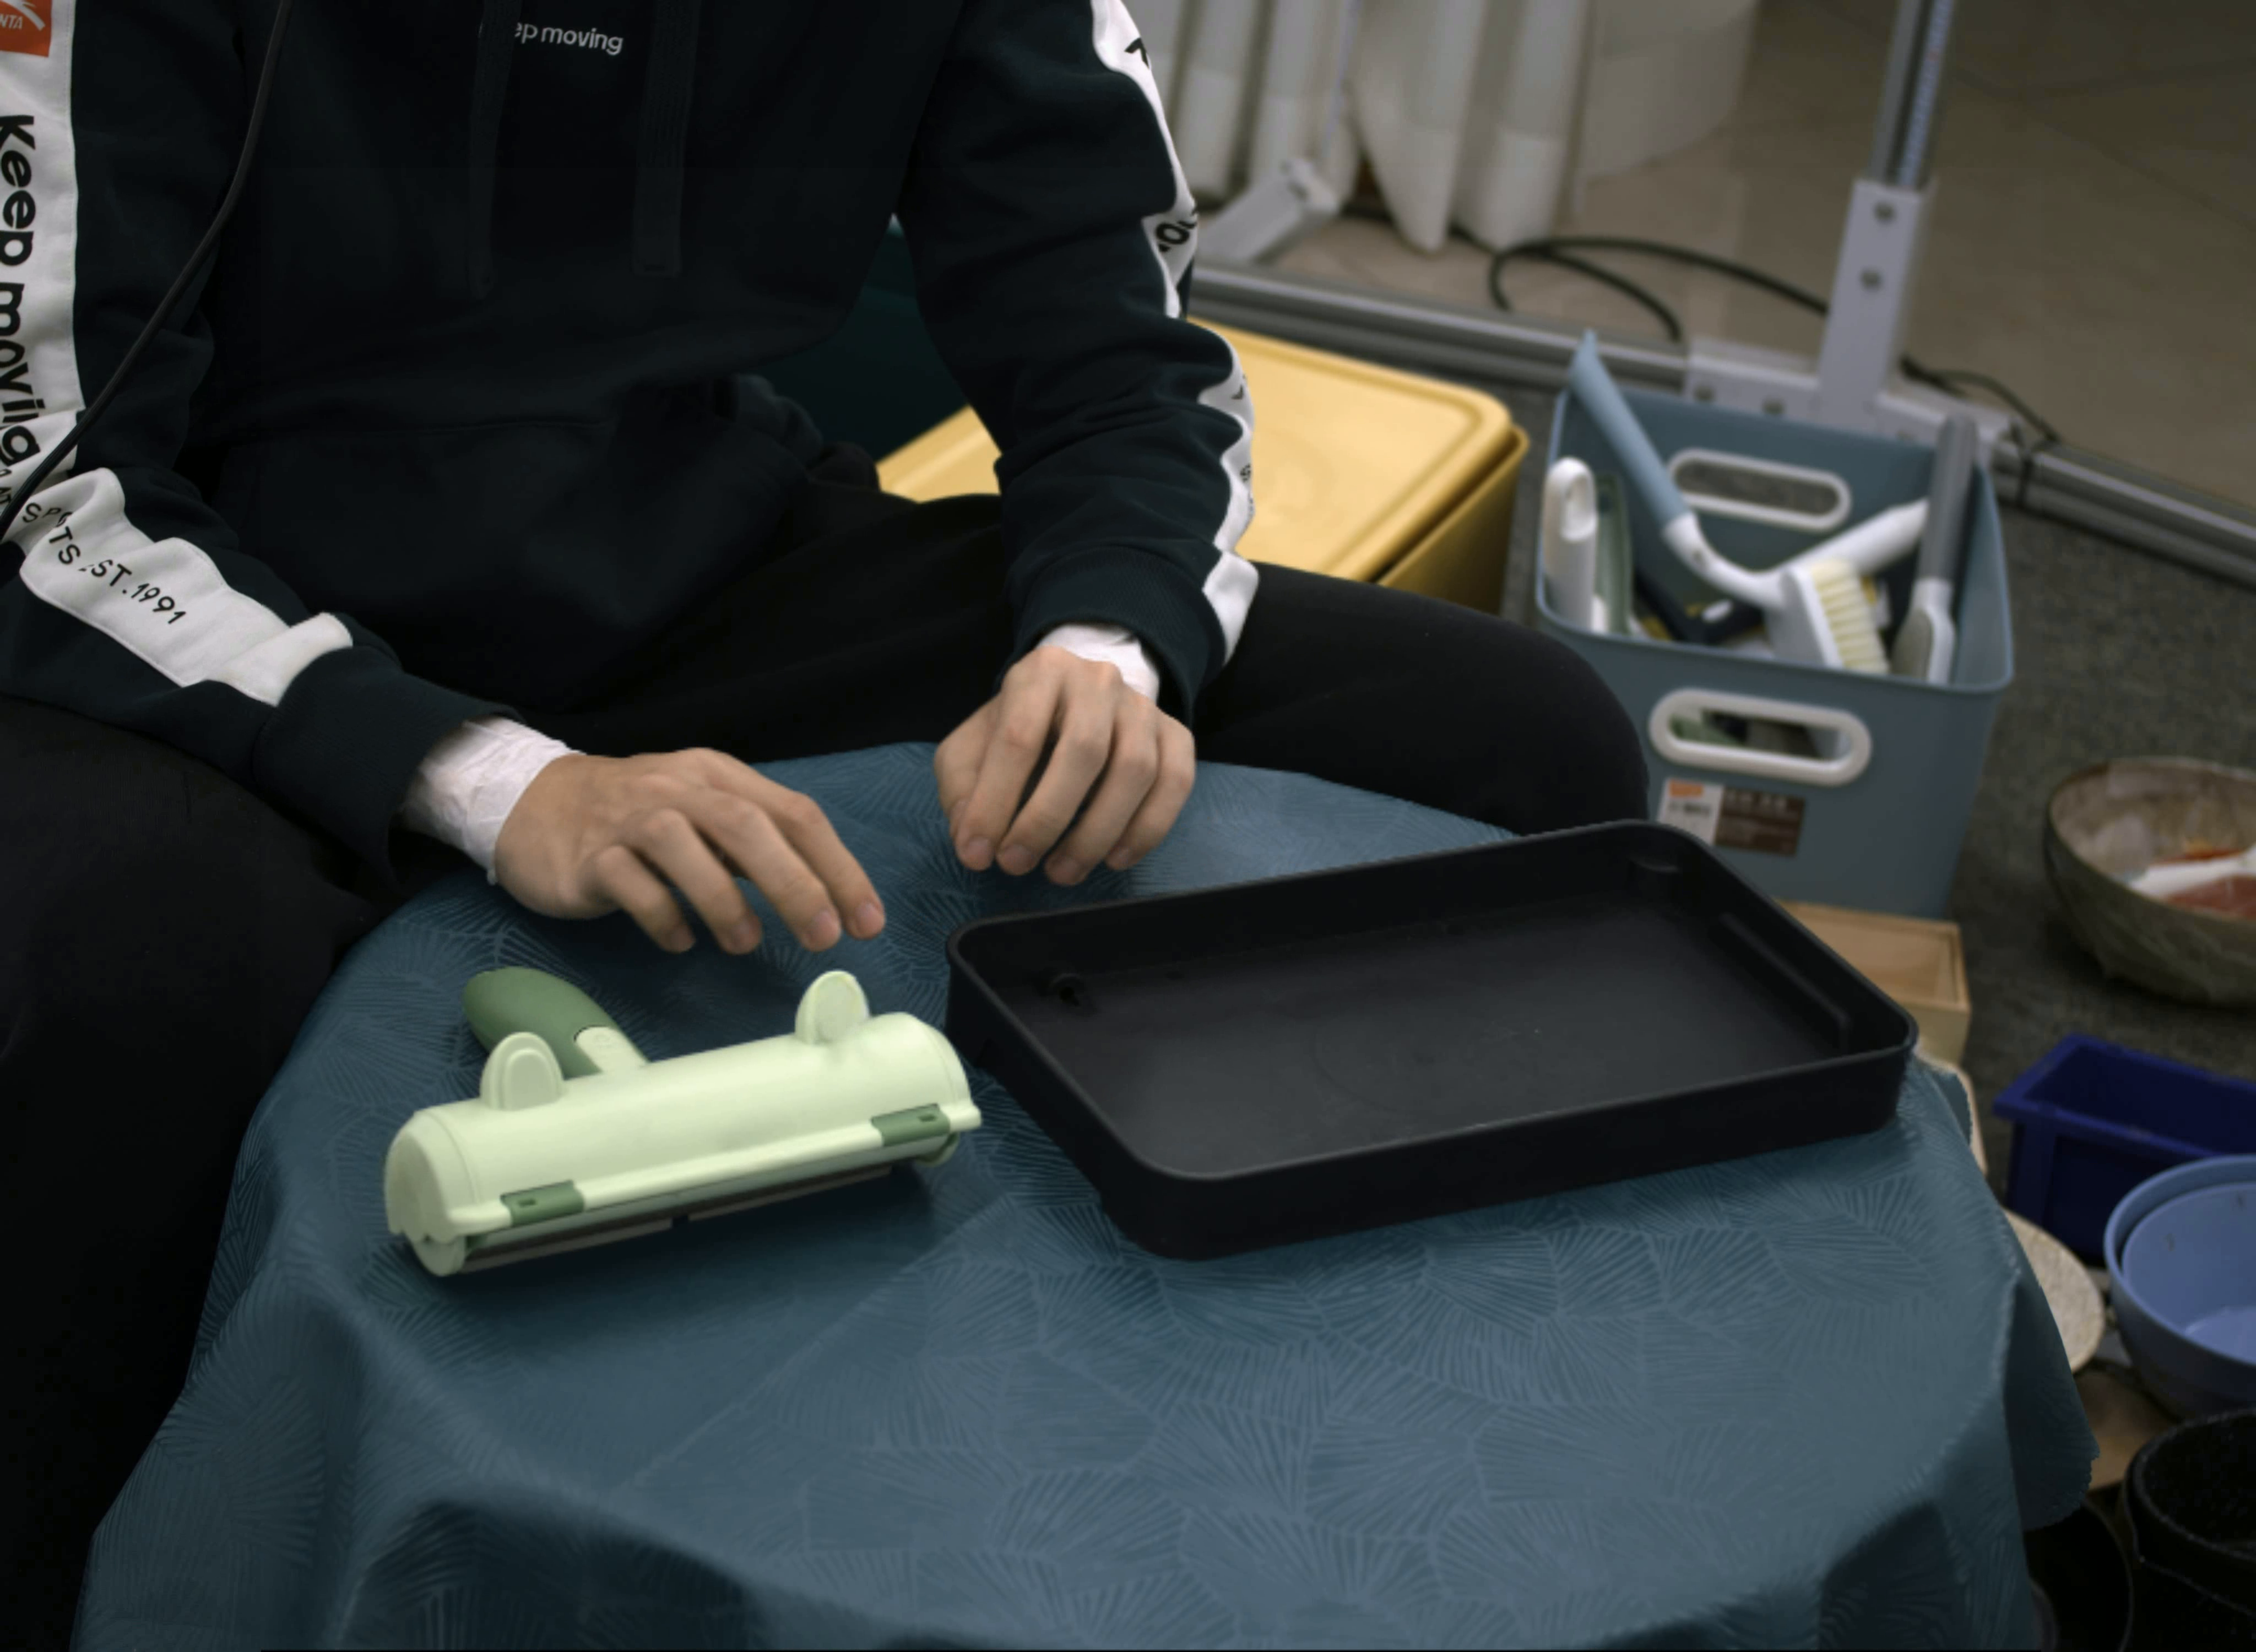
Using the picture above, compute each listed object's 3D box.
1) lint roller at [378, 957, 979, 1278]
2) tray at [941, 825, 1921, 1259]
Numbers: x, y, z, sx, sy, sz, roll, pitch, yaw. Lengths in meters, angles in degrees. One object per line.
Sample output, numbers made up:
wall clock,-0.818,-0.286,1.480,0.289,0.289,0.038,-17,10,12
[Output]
lint roller,-0.174,0.070,1.776,0.197,0.082,0.185,-11,35,-30
tray,0.106,0.072,1.884,0.316,0.037,0.186,-8,30,-26
